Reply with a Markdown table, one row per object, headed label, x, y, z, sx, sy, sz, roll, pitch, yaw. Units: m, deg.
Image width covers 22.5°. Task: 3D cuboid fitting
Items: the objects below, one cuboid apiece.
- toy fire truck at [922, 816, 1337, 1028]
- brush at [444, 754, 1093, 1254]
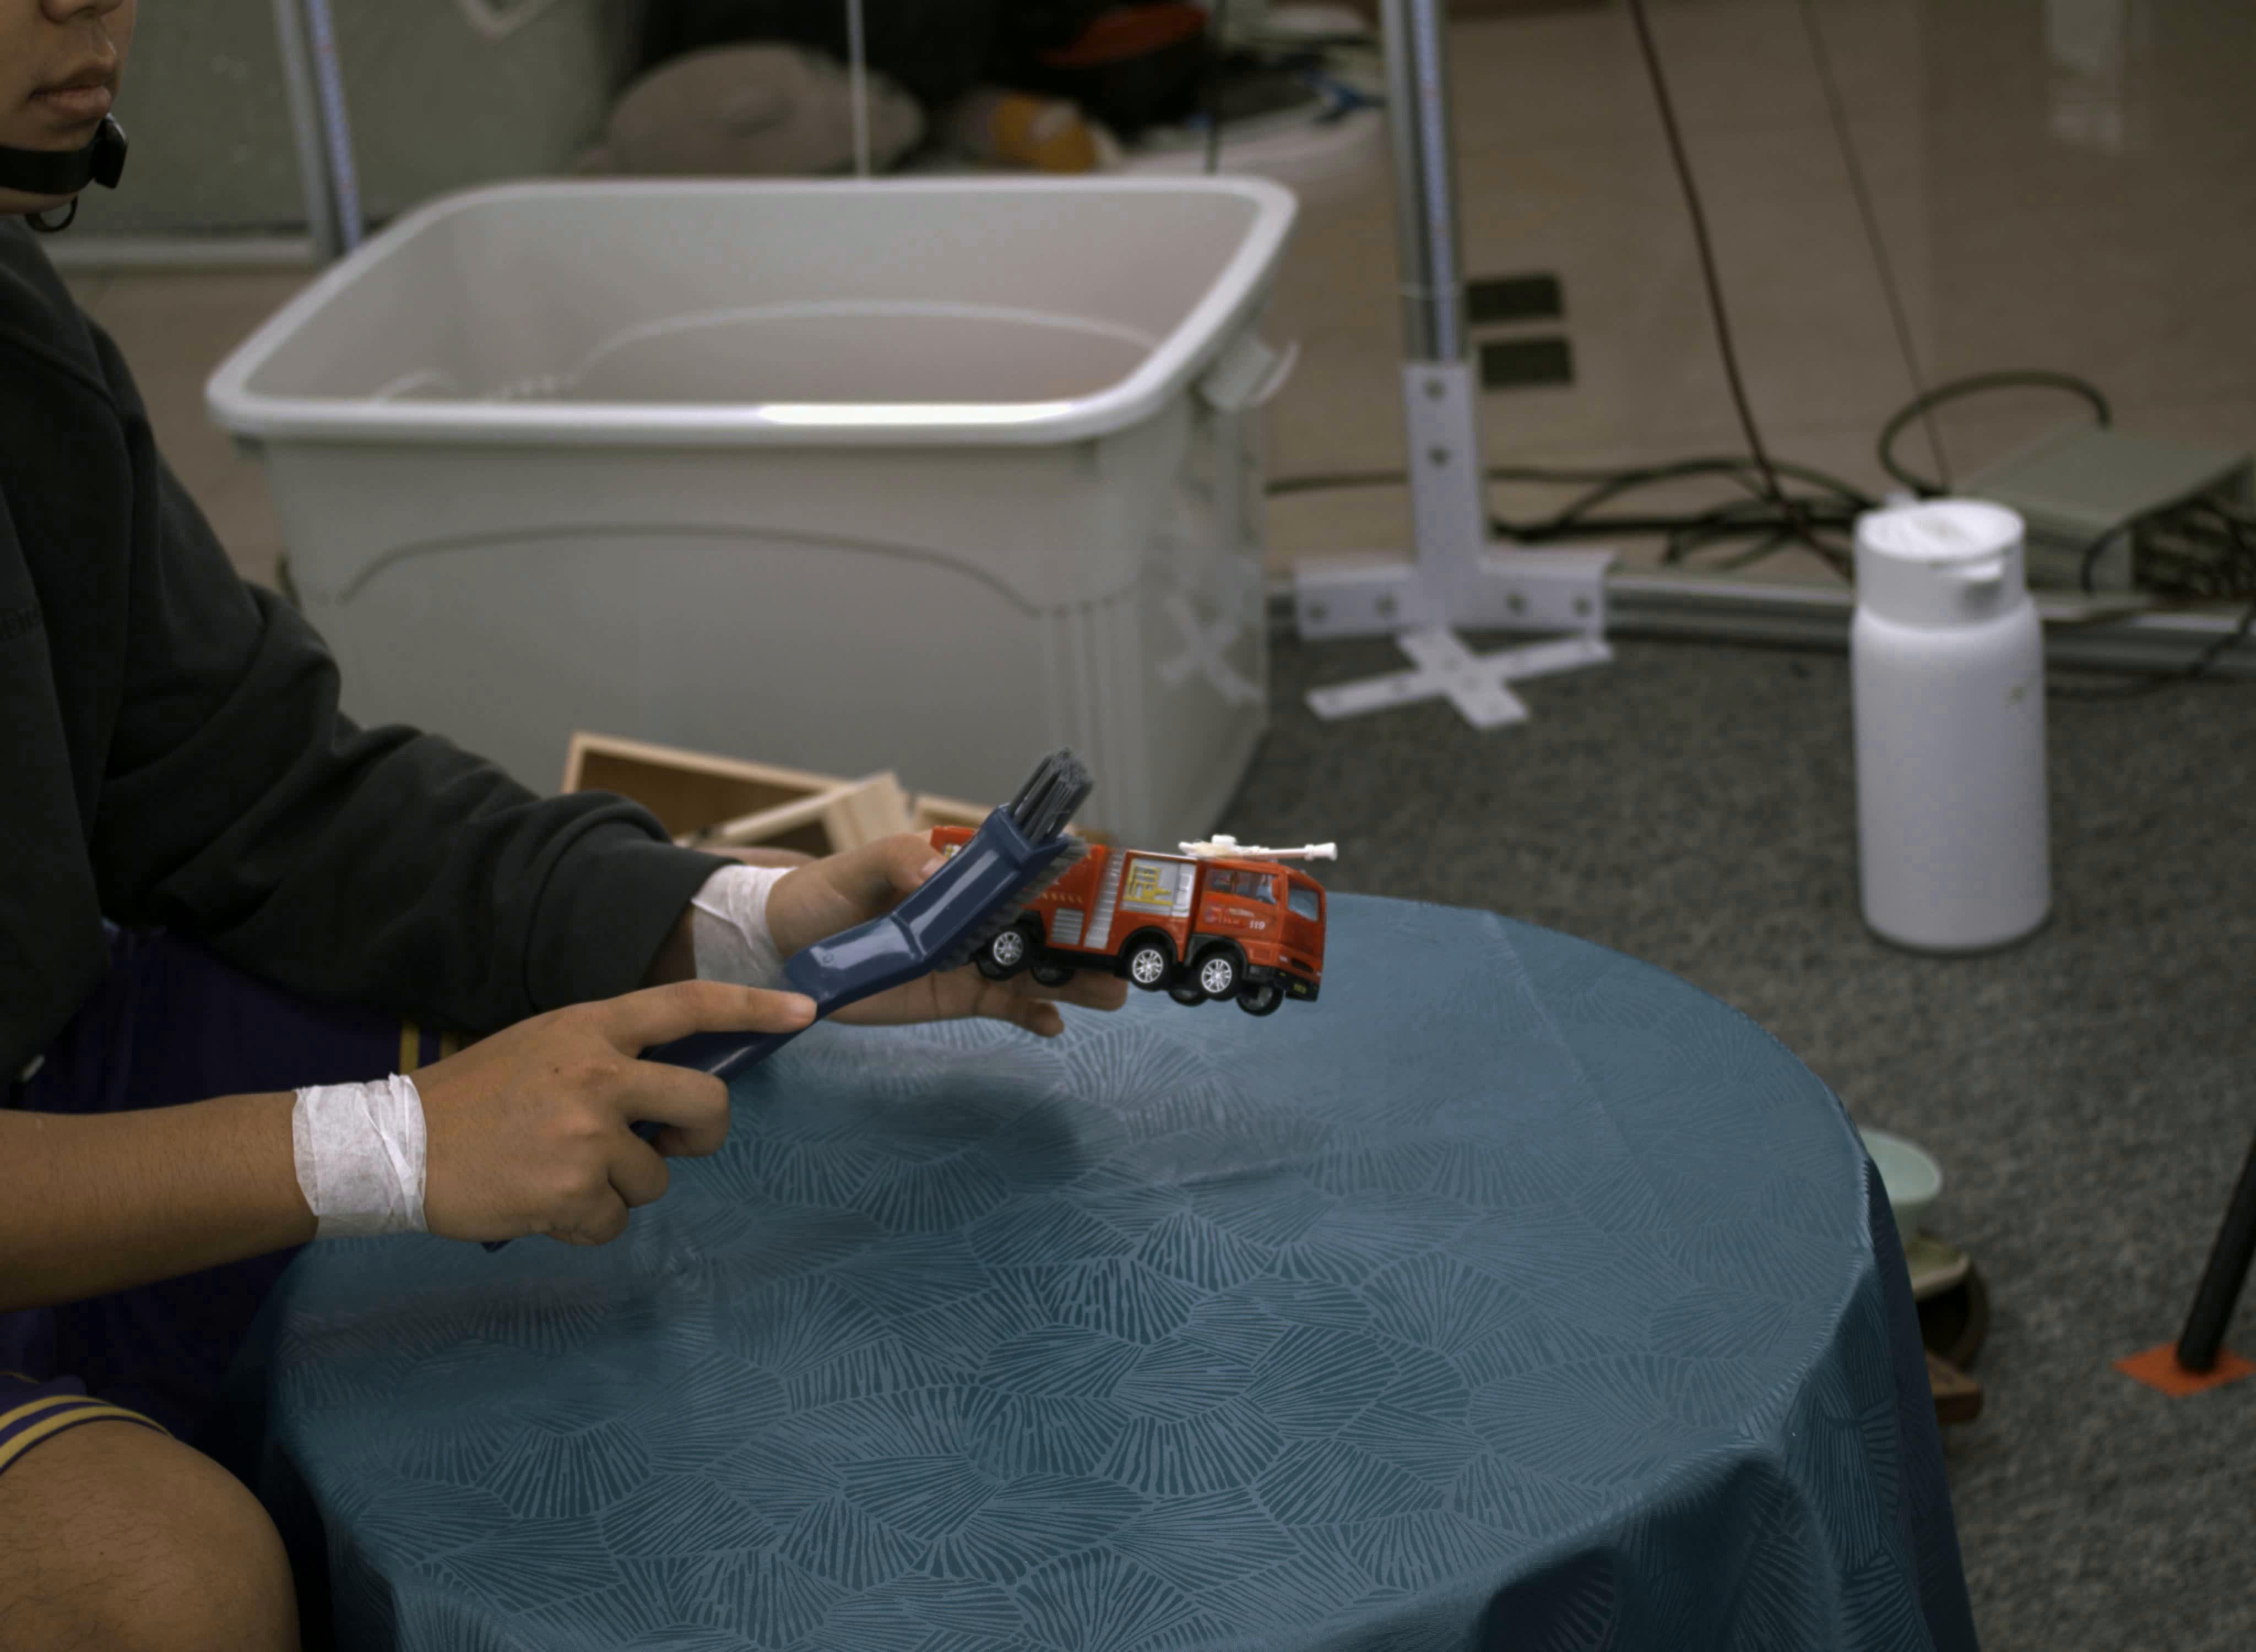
| label | x | y | z | sx | sy | sz | roll | pitch | yaw |
| --- | --- | --- | --- | --- | --- | --- | --- | --- | --- |
| toy fire truck | -0.001 | 0.035 | 2.167 | 0.167 | 0.070 | 0.054 | 6 | -7 | 27 |
| brush | -0.132 | 0.064 | 2.088 | 0.272 | 0.097 | 0.033 | -31 | 68 | -11 |
